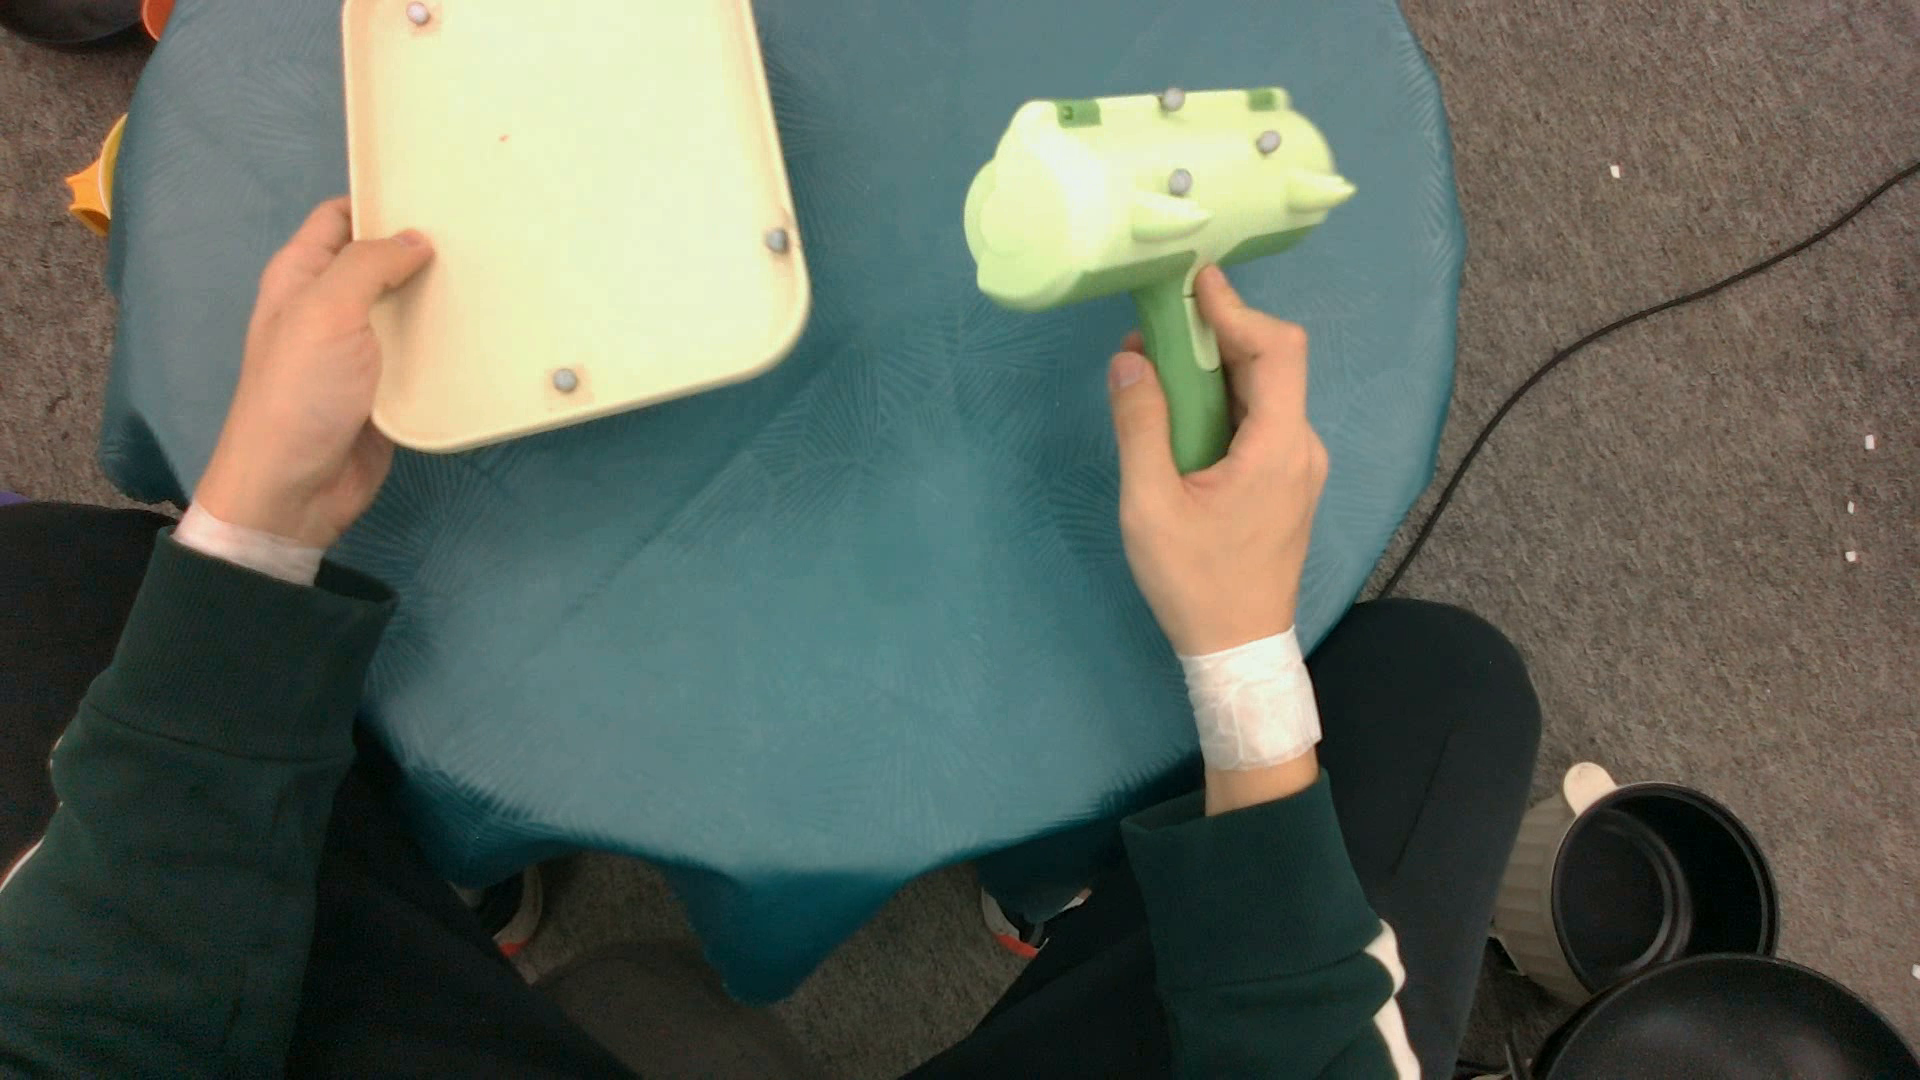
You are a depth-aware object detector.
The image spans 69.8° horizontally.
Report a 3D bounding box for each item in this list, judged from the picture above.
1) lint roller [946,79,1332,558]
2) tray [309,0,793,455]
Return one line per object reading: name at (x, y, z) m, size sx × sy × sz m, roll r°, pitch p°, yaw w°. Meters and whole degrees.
lint roller at (0.091, -0.084, 0.530) m, size 0.199 × 0.082 × 0.183 m, roll -23°, pitch 100°, yaw -48°
tray at (-0.164, -0.153, 0.540) m, size 0.171 × 0.017 × 0.240 m, roll -16°, pitch 69°, yaw 2°
